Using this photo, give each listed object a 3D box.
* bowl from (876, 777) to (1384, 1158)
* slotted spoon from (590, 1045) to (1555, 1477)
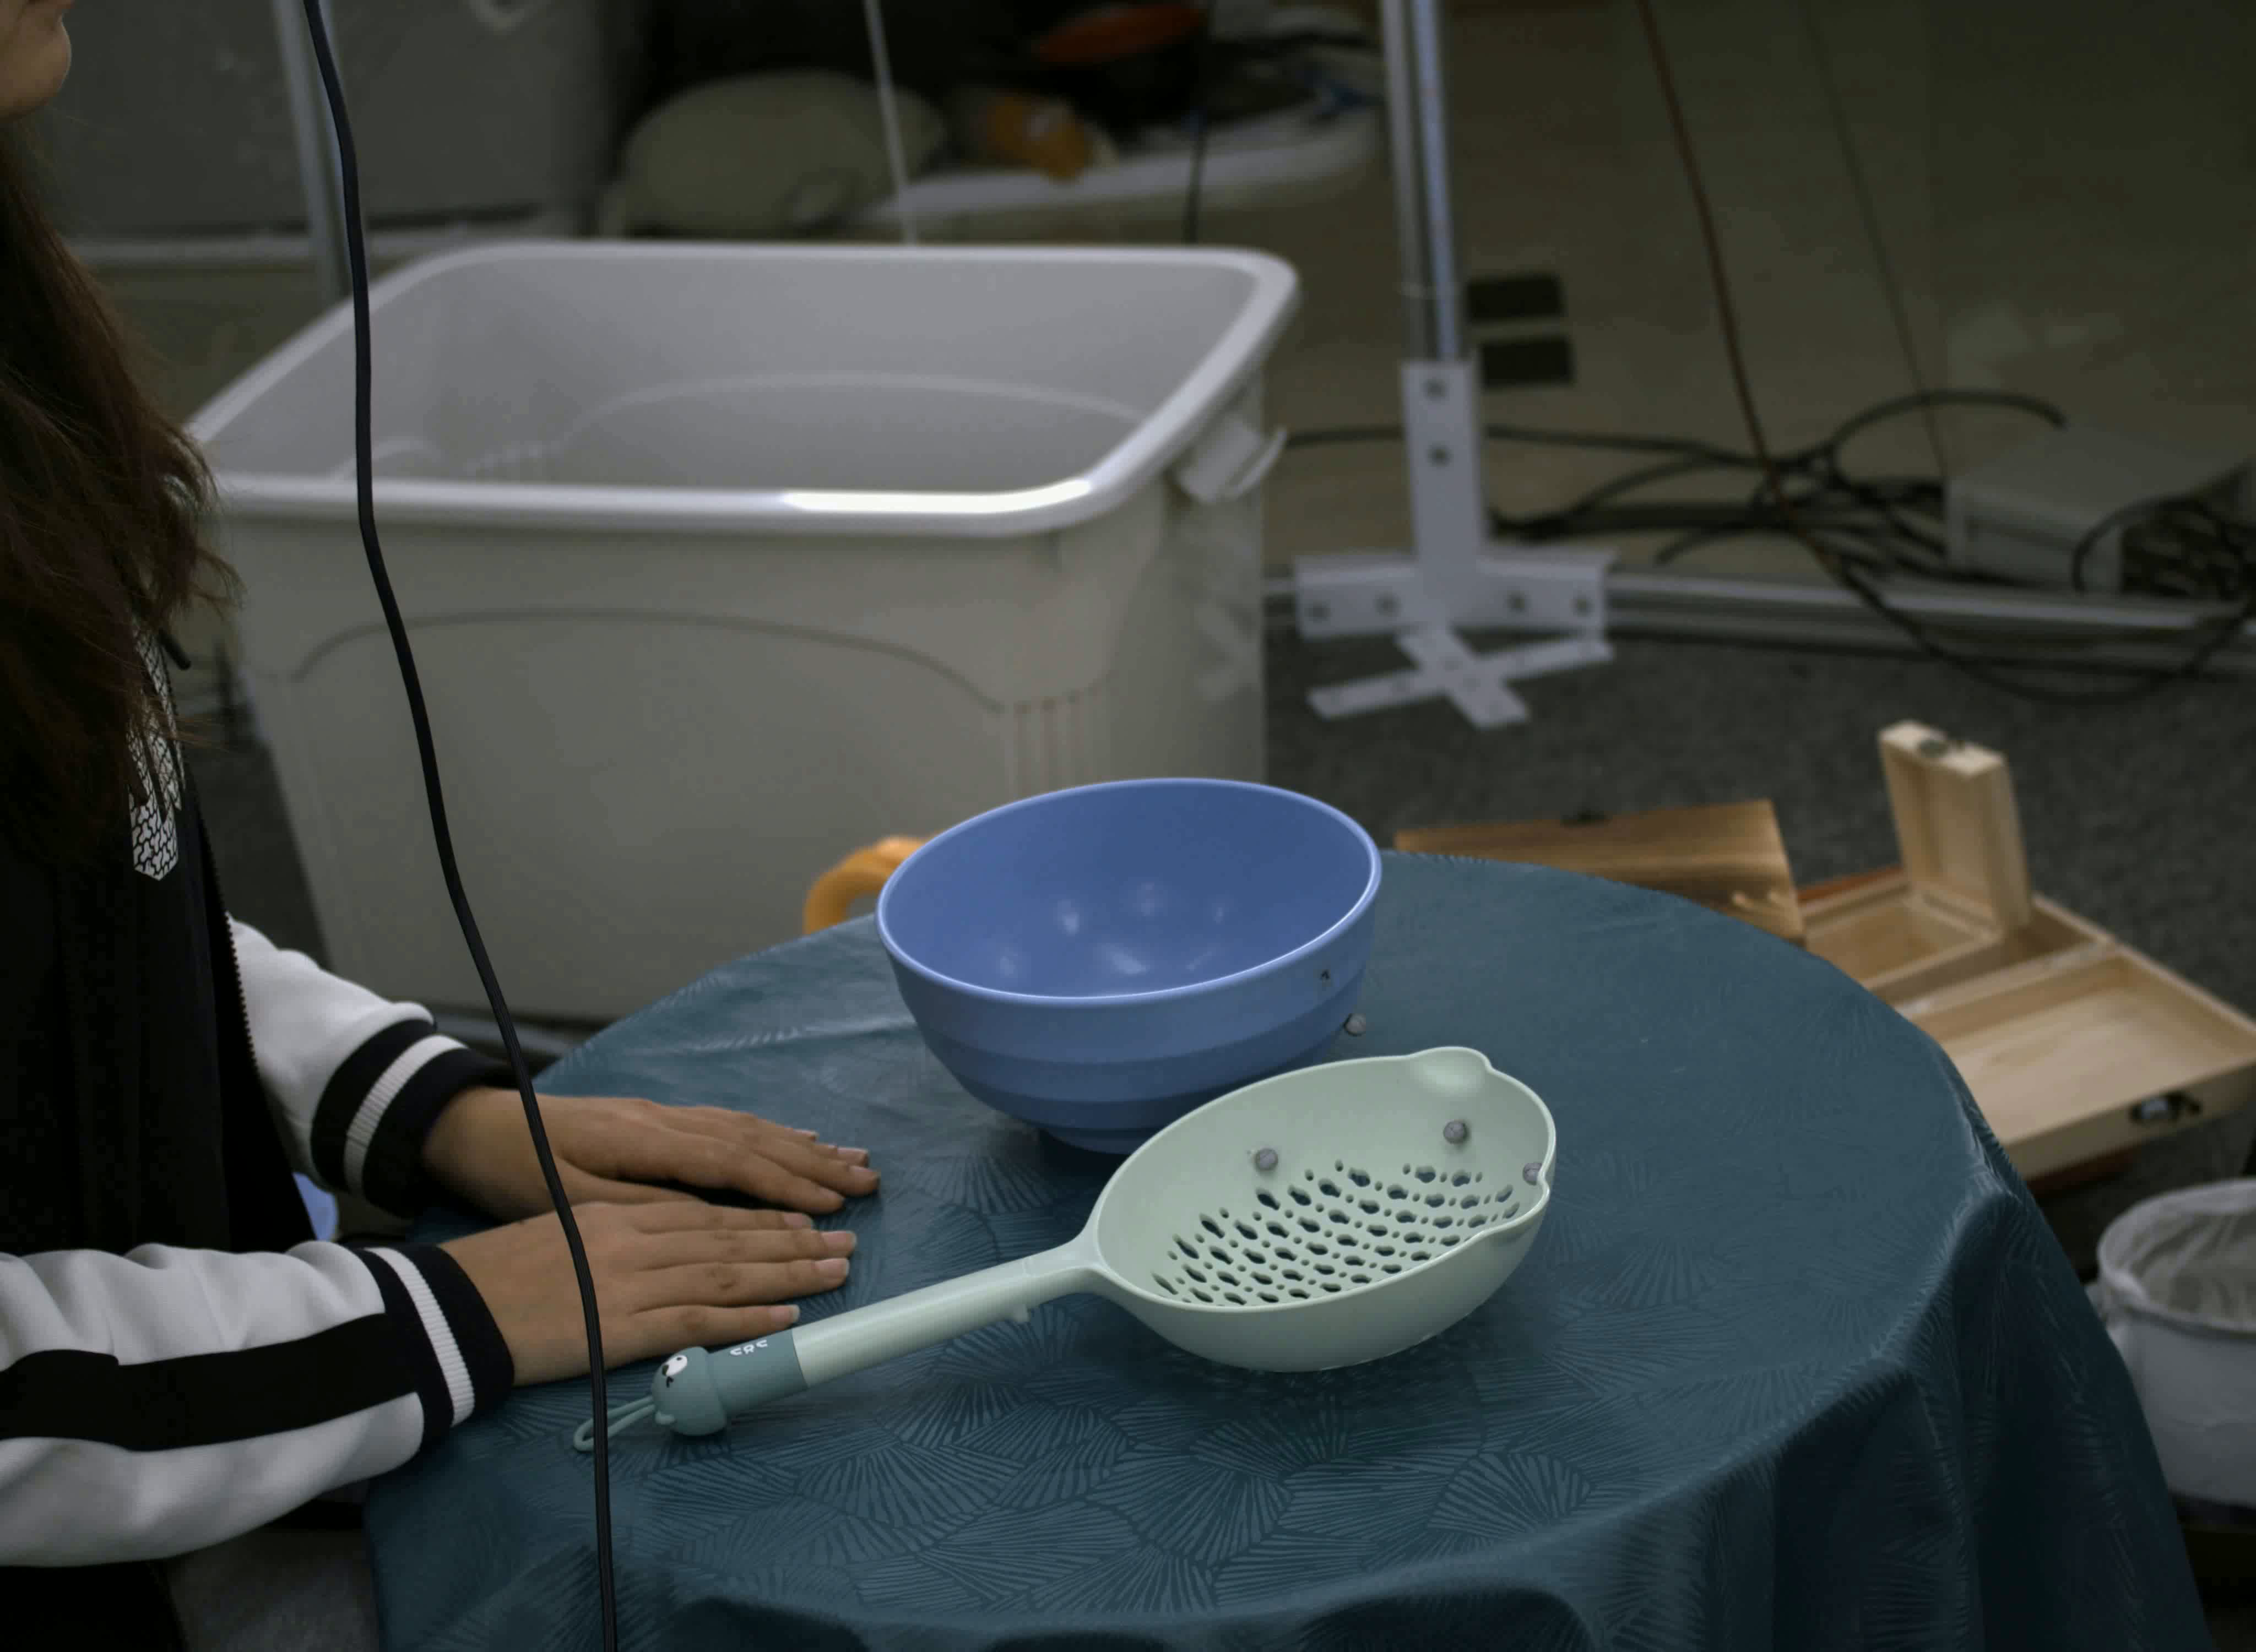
[{"bbox_3d":[0.005,0.066,2.193,0.196,0.097,0.193,-6,26,3],"label":"bowl"},{"bbox_3d":[-0.021,0.167,2.026,0.358,0.076,0.167,-10,24,-4],"label":"slotted spoon"}]
